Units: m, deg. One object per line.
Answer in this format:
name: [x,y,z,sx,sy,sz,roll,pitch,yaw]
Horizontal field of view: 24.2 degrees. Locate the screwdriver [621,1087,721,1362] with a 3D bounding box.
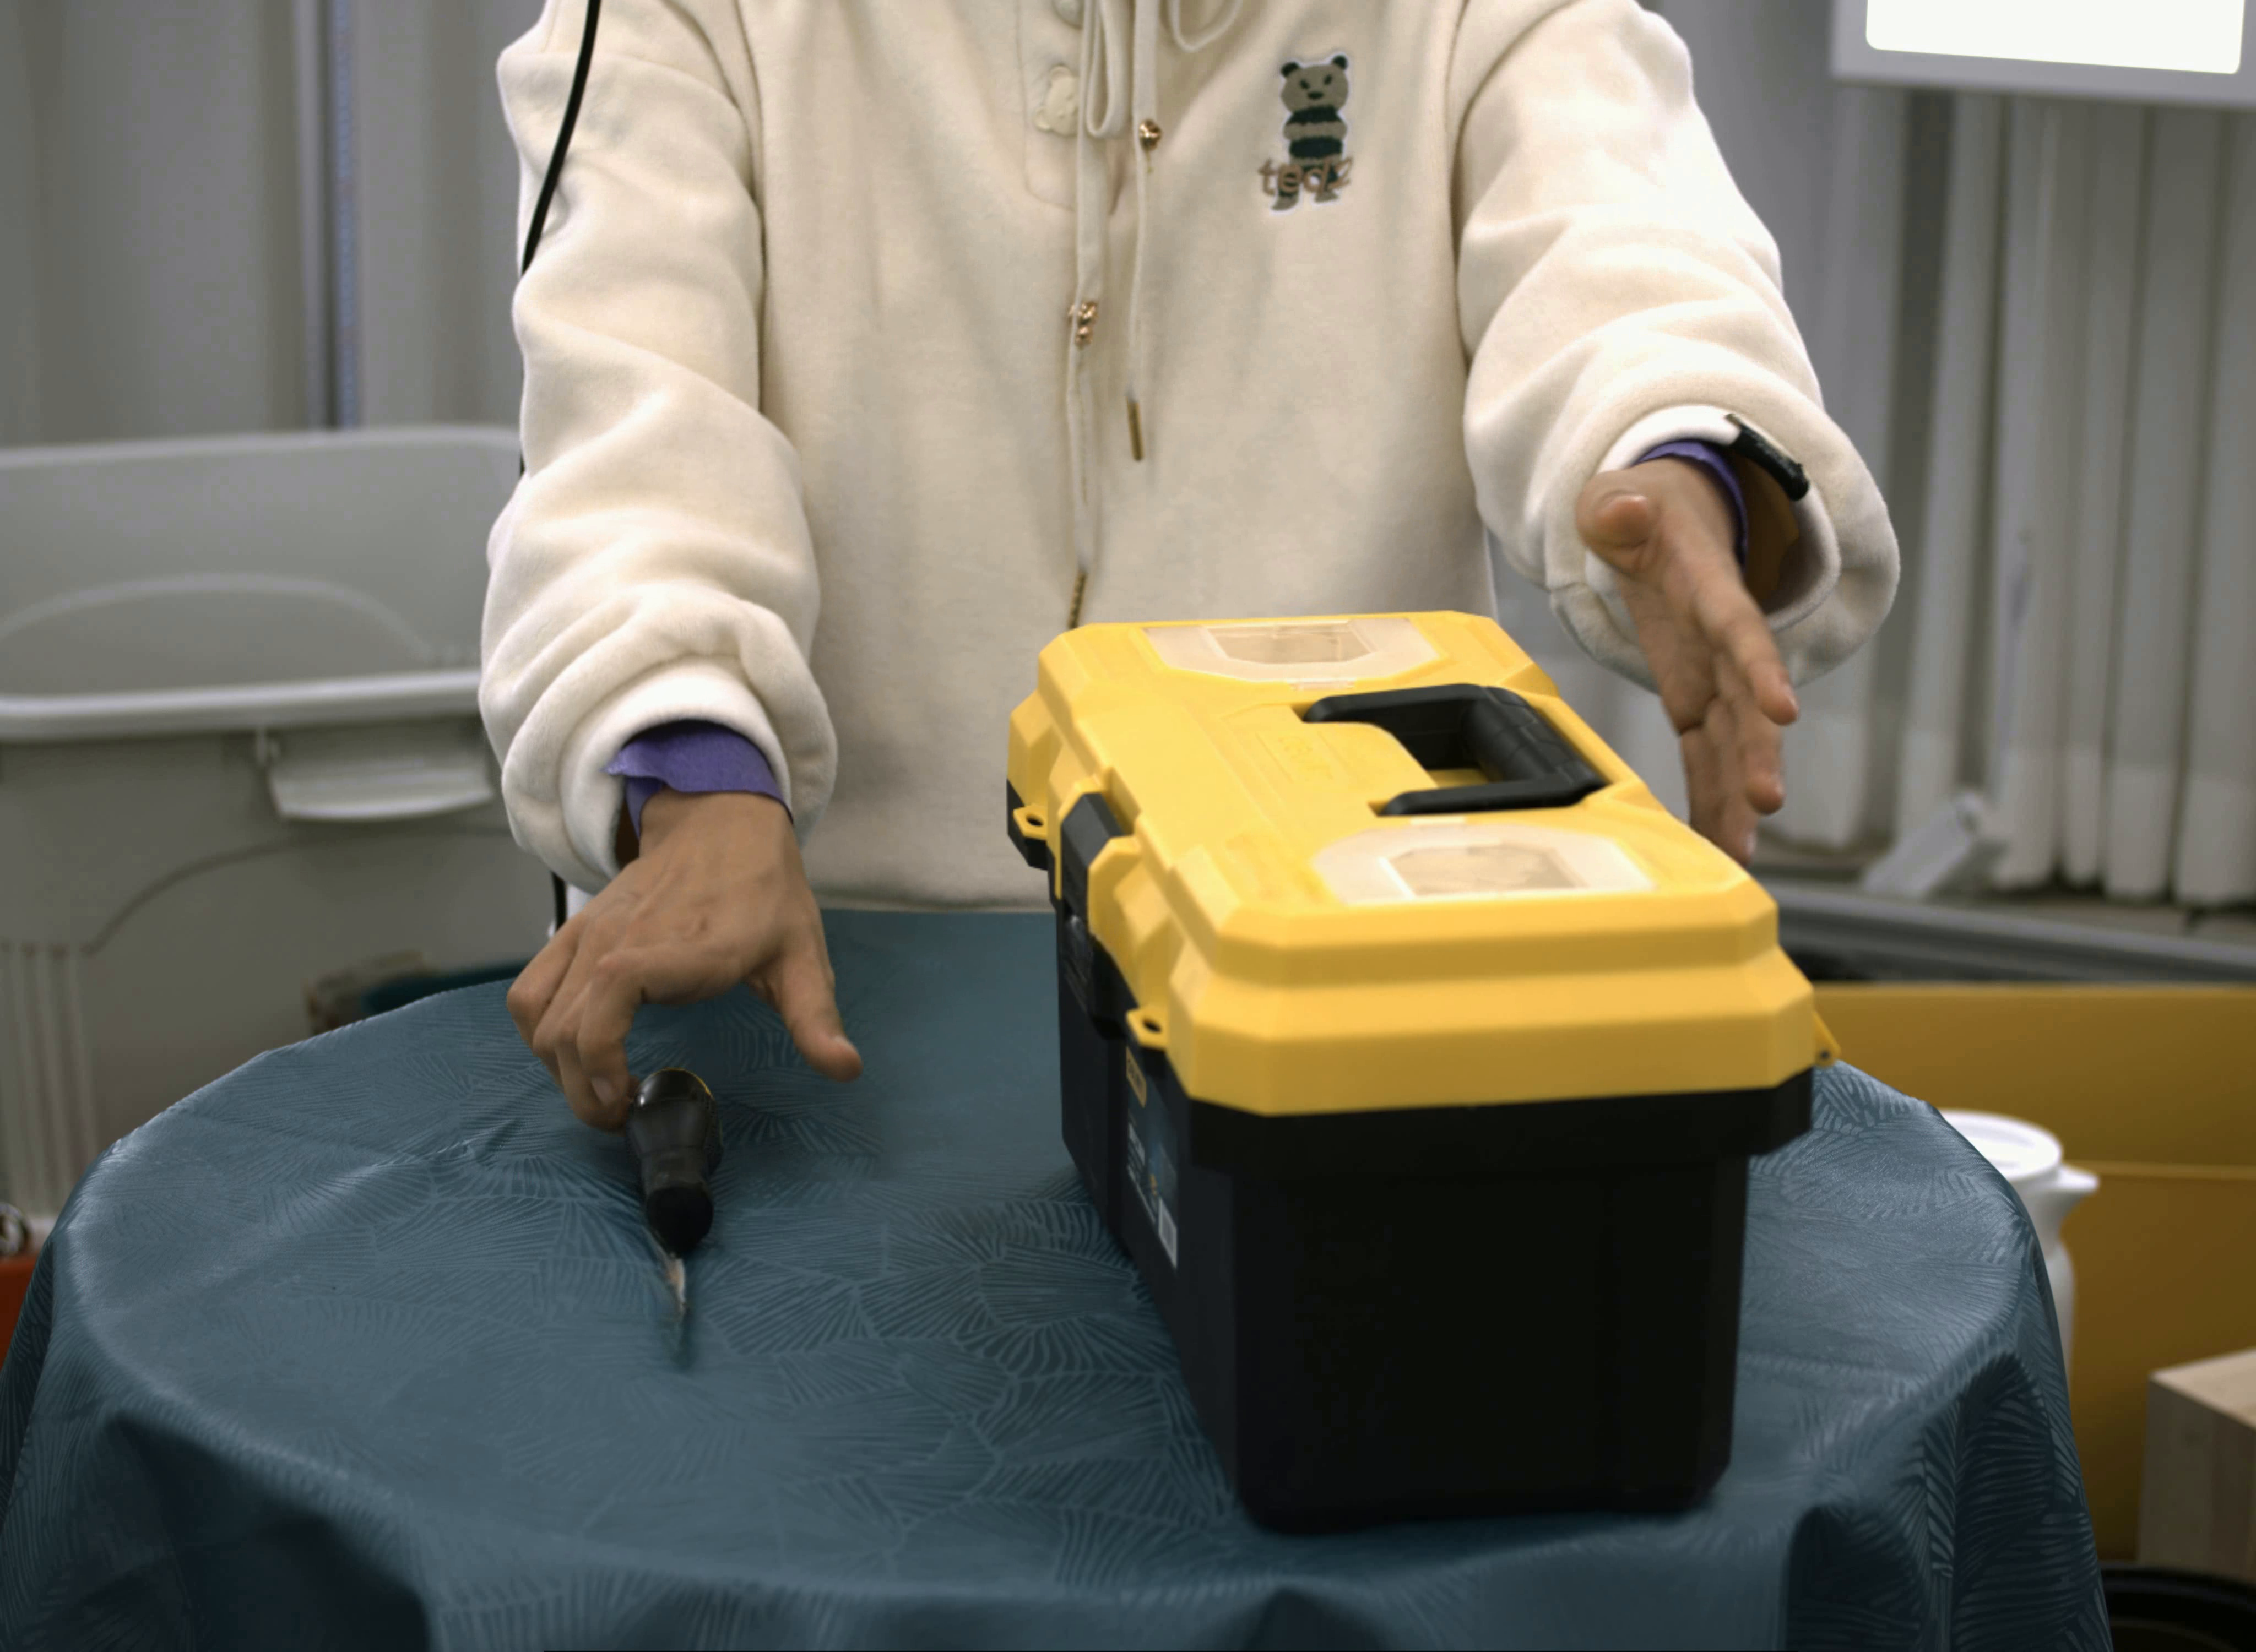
screwdriver: [-0.136,0.122,1.562,0.031,0.032,0.196,0,20,-4]

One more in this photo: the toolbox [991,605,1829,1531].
toolbox: [0.070,0.058,1.492,0.181,0.174,0.348,-2,16,-9]
